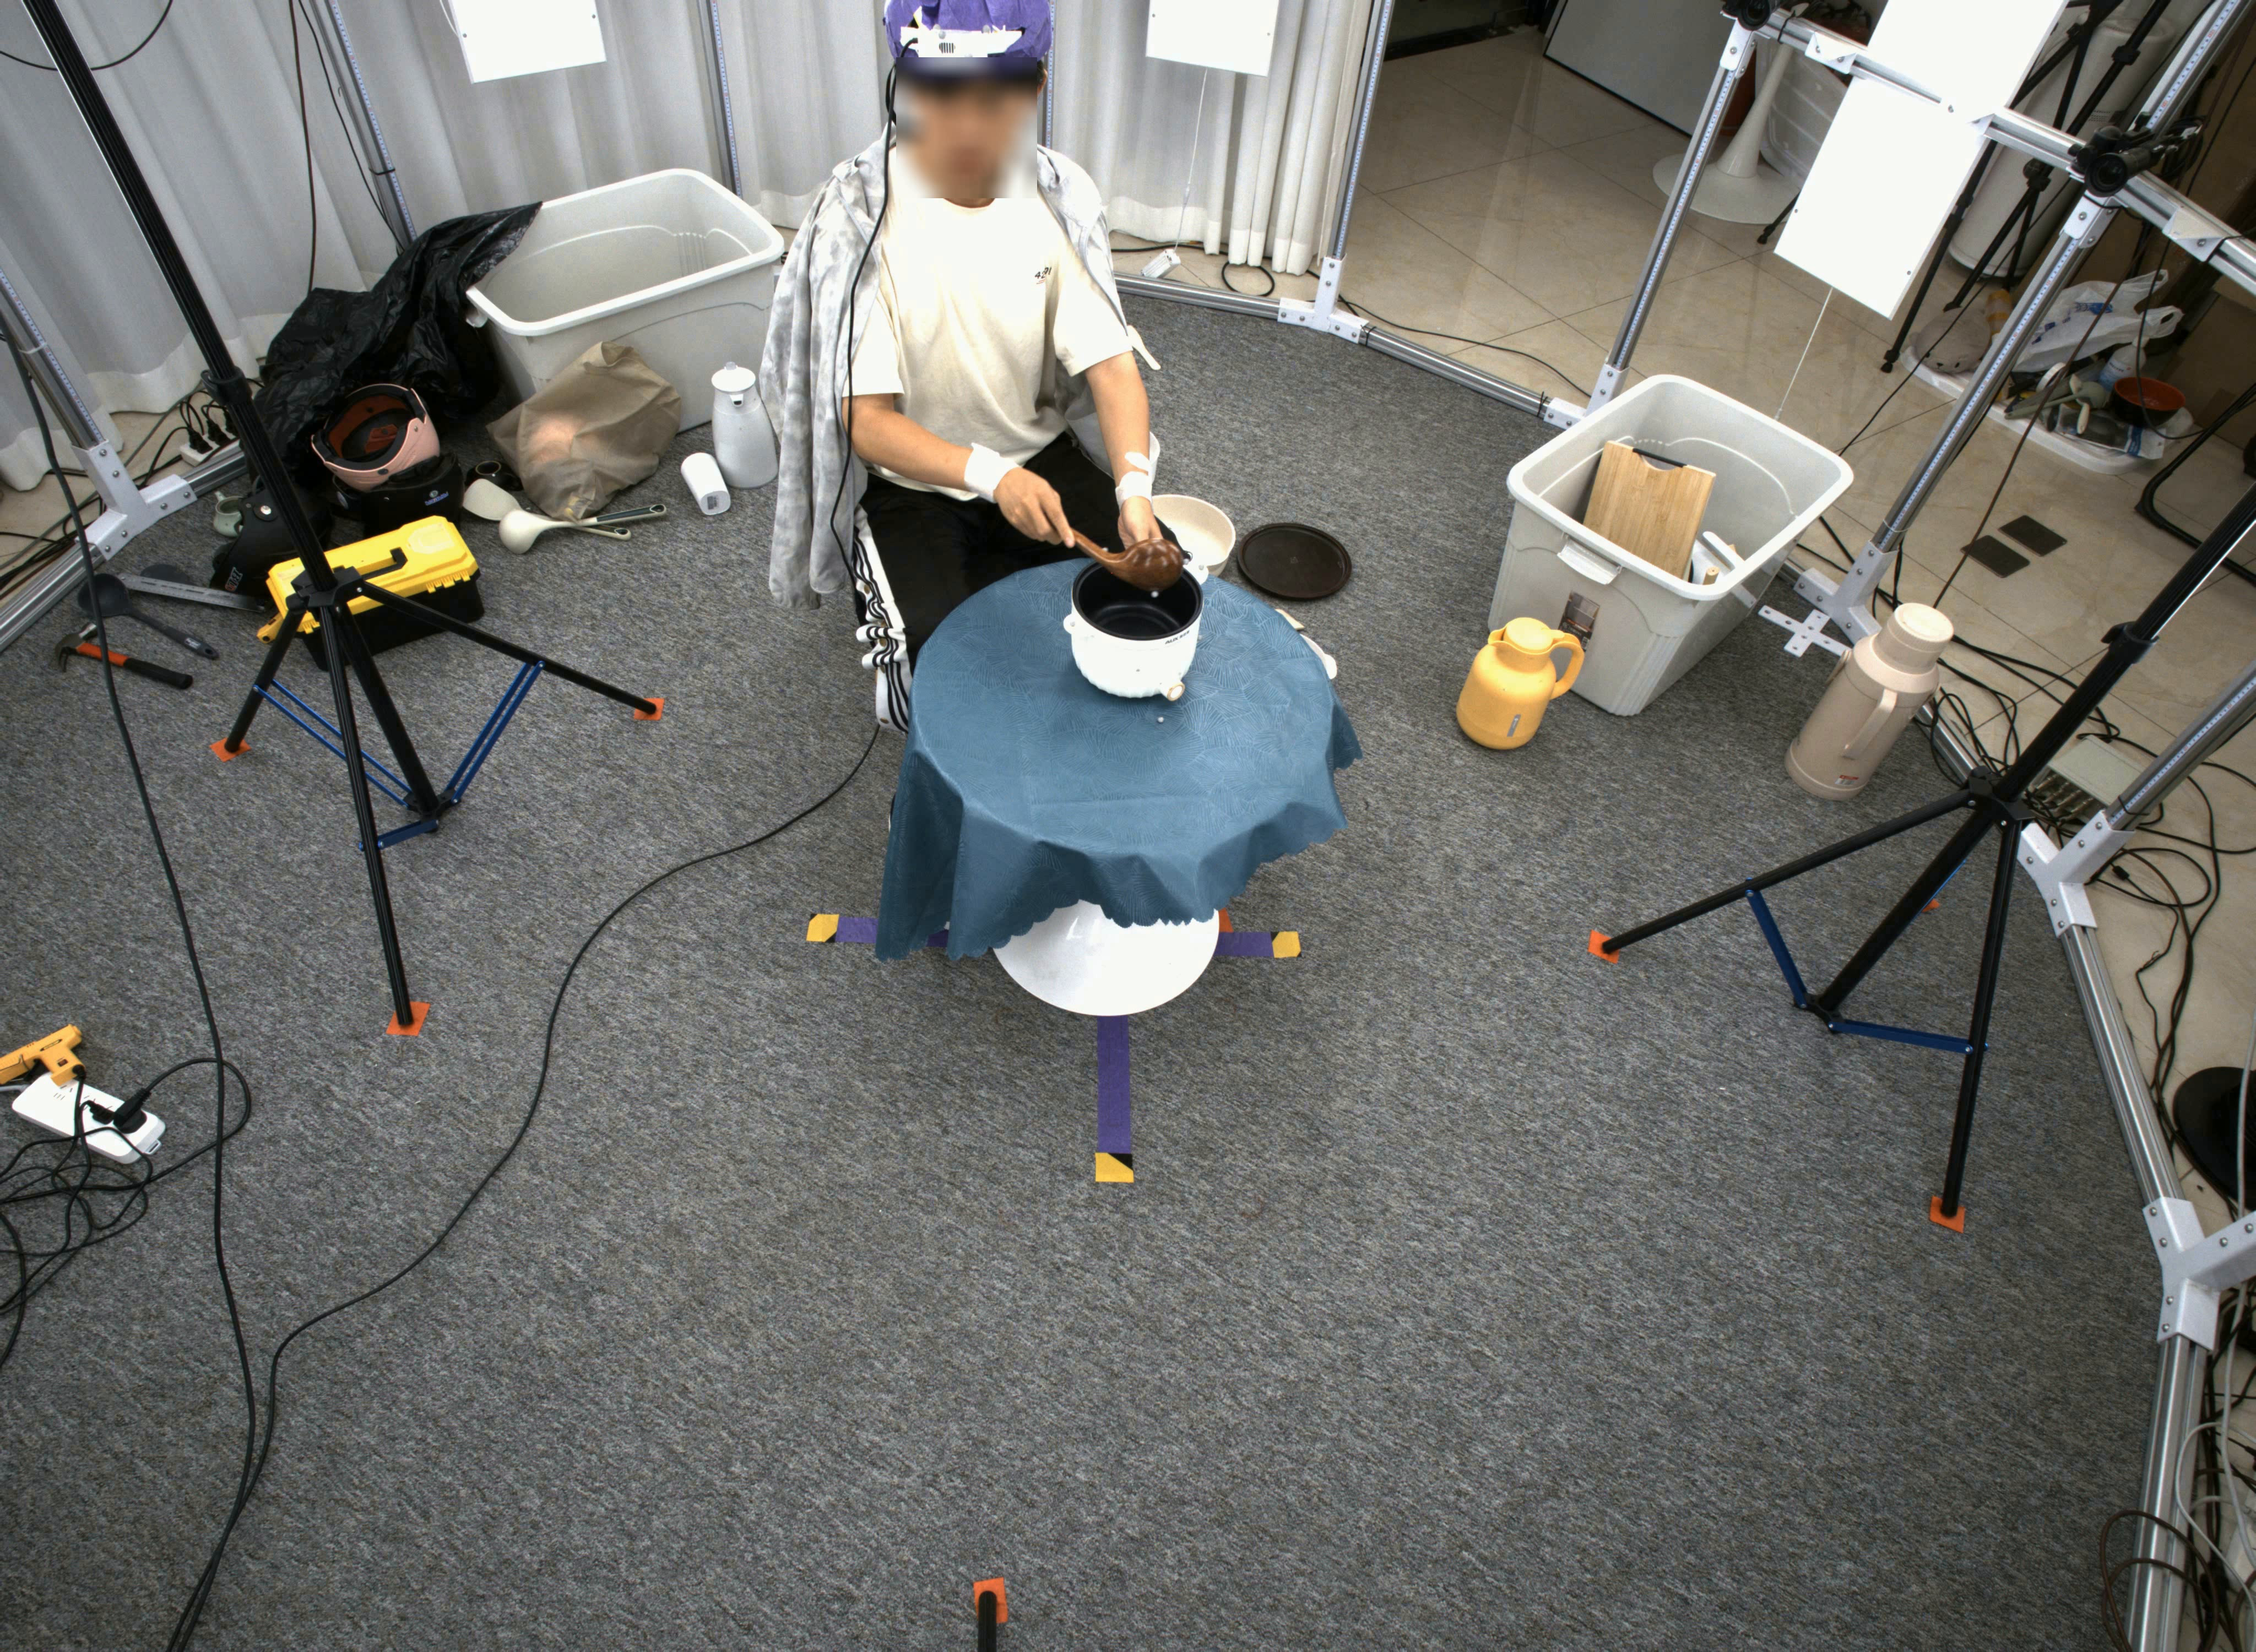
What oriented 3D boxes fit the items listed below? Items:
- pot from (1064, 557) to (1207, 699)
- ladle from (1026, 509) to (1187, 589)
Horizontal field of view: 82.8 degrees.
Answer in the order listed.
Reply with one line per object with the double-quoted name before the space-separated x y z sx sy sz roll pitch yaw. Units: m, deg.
"pot" 0.014 -0.274 1.811 0.242 0.139 0.194 -29 53 -25
"ladle" -0.030 -0.397 1.757 0.077 0.080 0.279 -34 47 -22
